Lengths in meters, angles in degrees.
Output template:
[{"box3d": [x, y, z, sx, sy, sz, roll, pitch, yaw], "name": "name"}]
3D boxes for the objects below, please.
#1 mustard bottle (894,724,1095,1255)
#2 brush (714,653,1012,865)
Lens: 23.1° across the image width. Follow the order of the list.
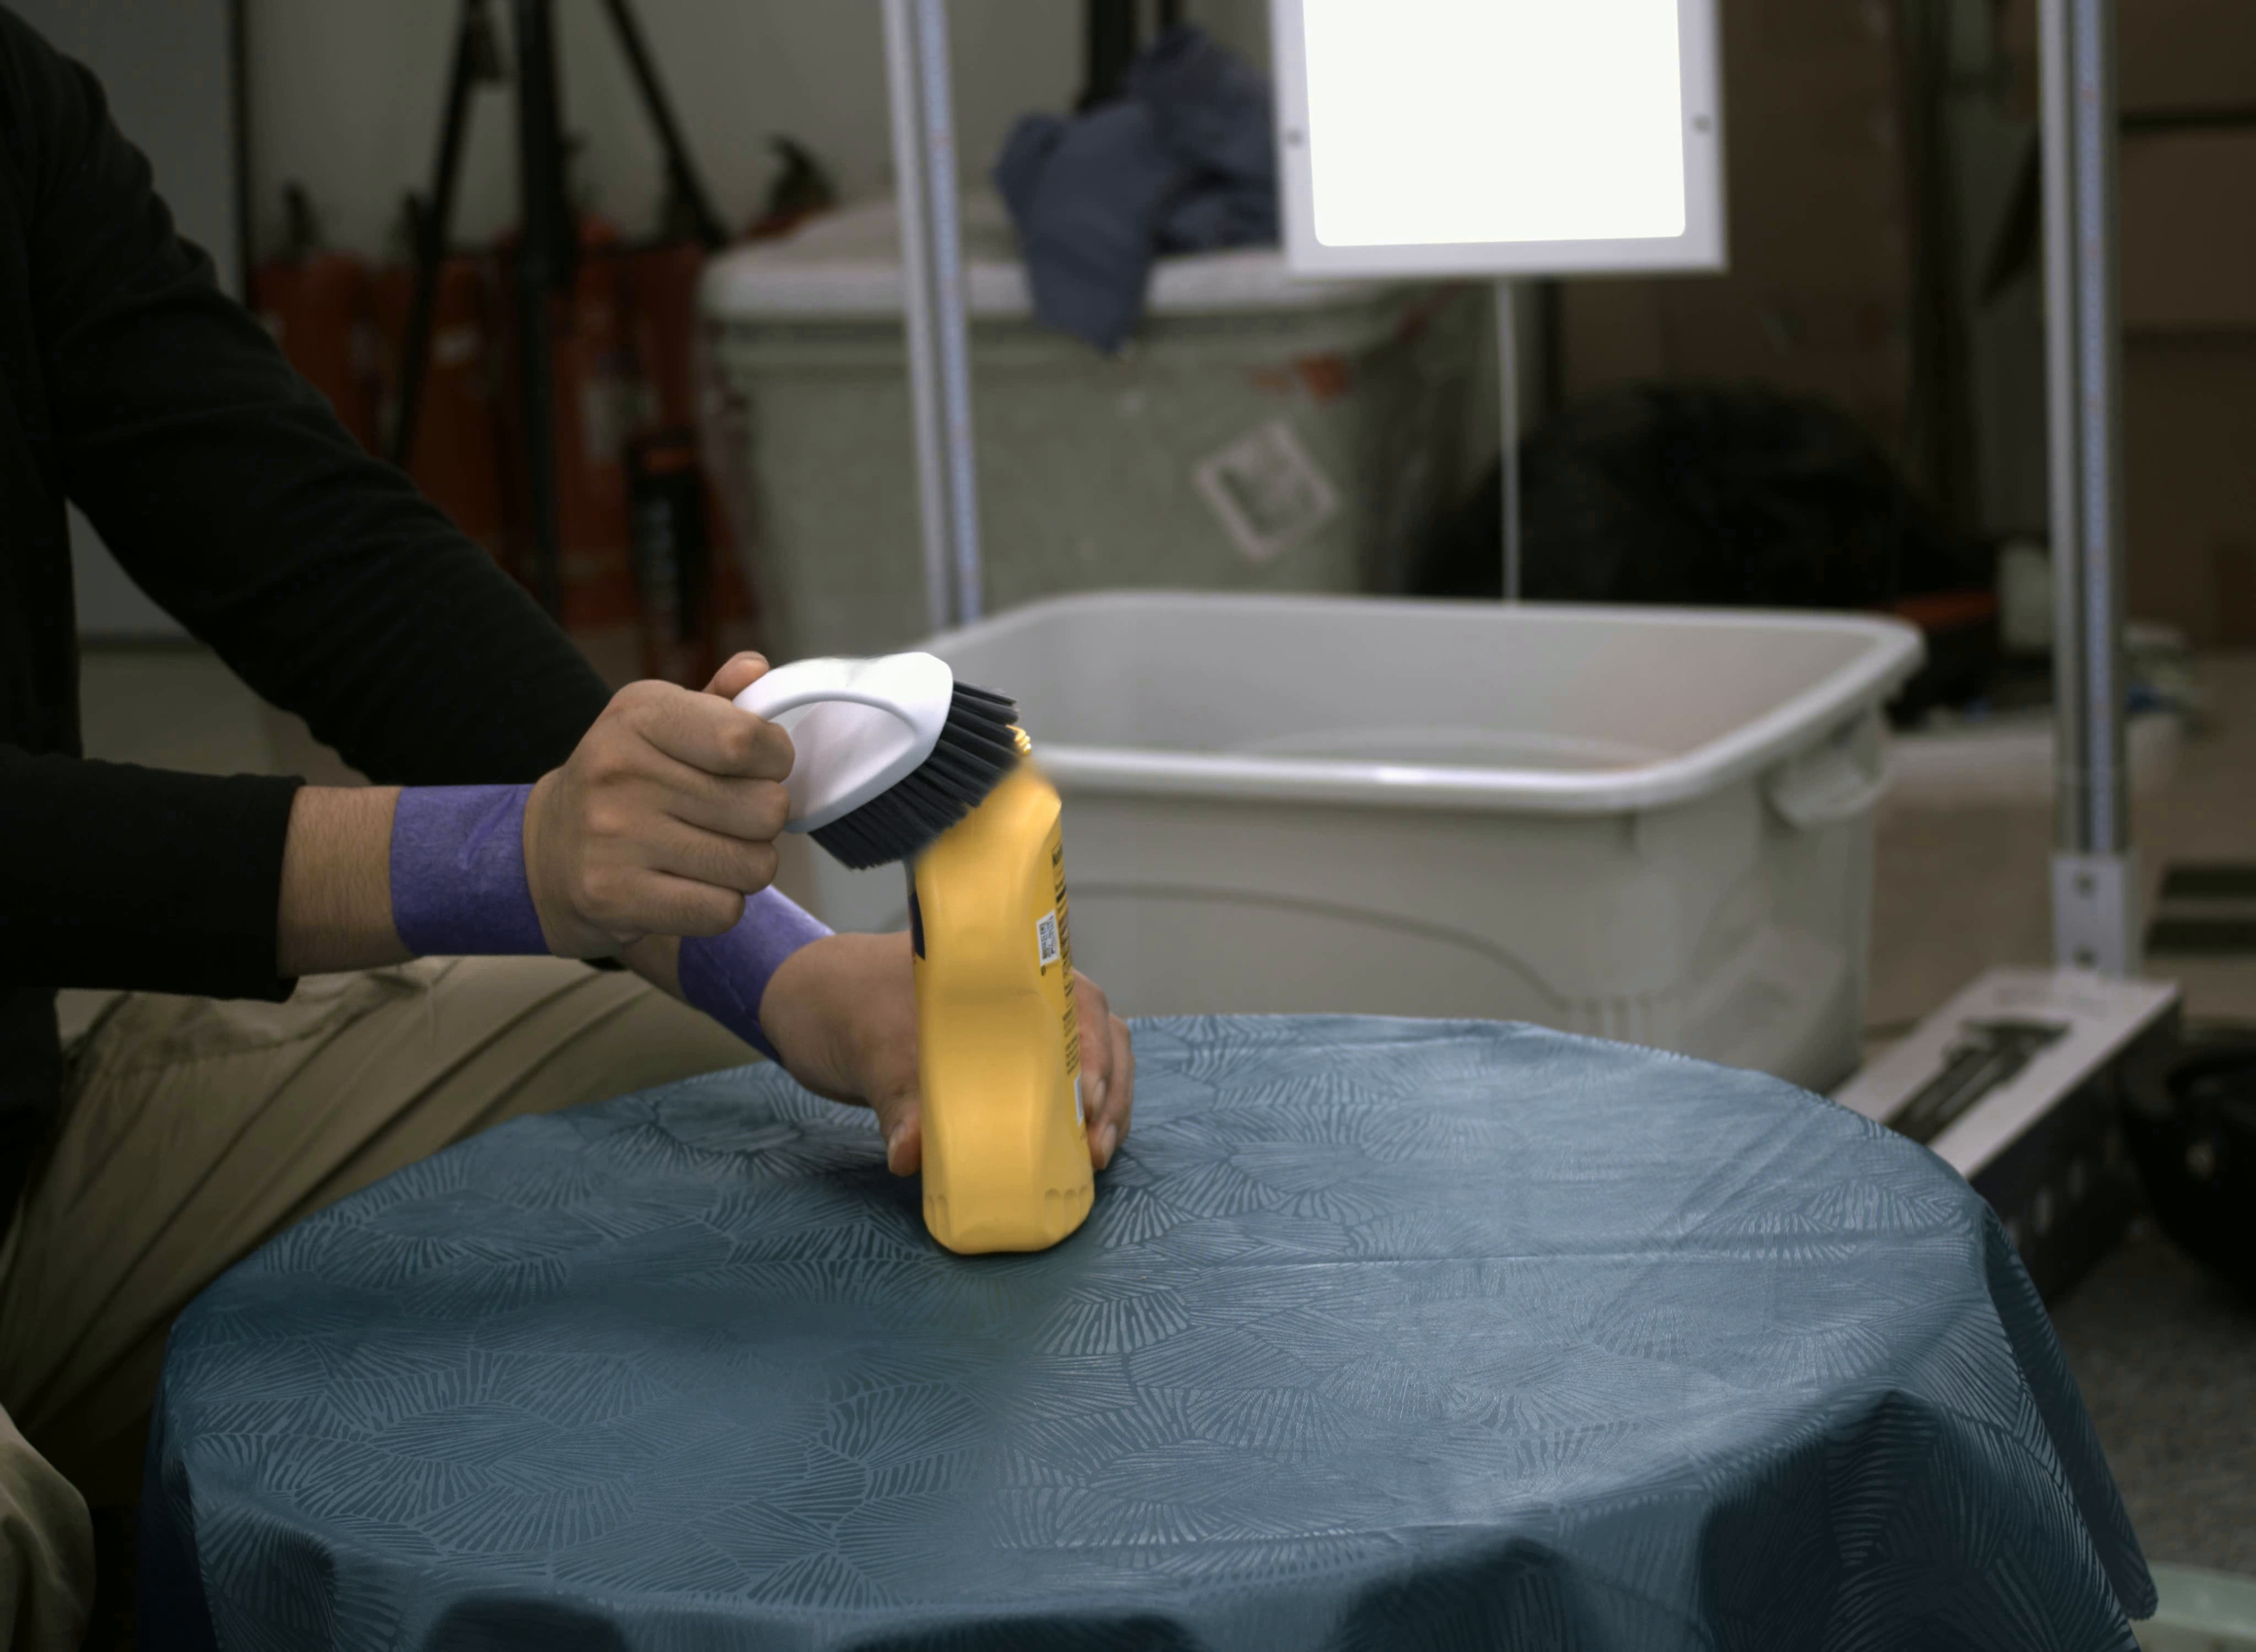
[{"box3d": [-0.047, 0.052, 1.859, 0.059, 0.172, 0.097, -4, 15, 6], "name": "mustard bottle"}, {"box3d": [-0.094, -0.028, 1.807, 0.071, 0.050, 0.101, 26, -30, -27], "name": "brush"}]
